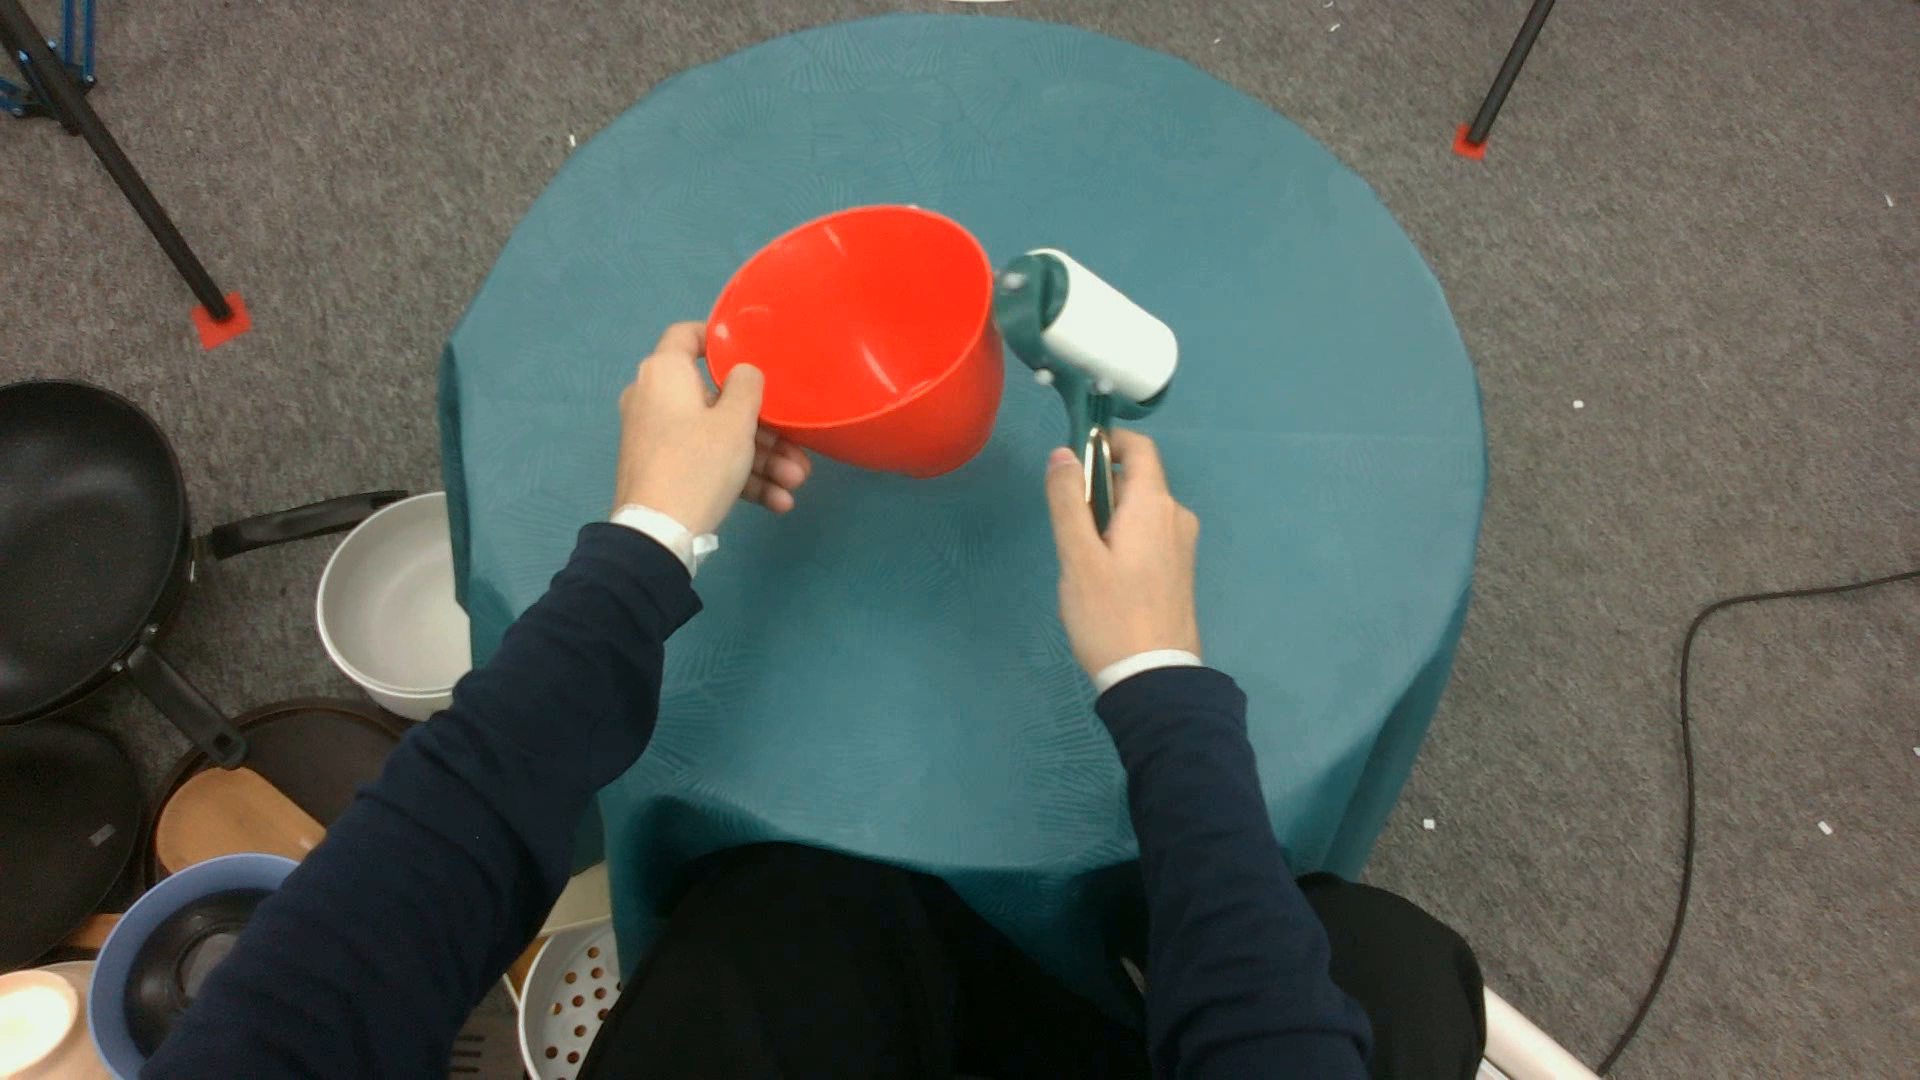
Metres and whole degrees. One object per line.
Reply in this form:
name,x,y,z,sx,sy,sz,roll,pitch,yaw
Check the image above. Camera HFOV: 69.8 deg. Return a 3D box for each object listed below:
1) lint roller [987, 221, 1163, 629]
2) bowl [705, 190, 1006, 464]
lint roller,0.062,-0.049,0.663,0.048,0.134,0.180,-15,69,30
bowl,-0.040,-0.097,0.707,0.147,0.104,0.148,-16,49,20
